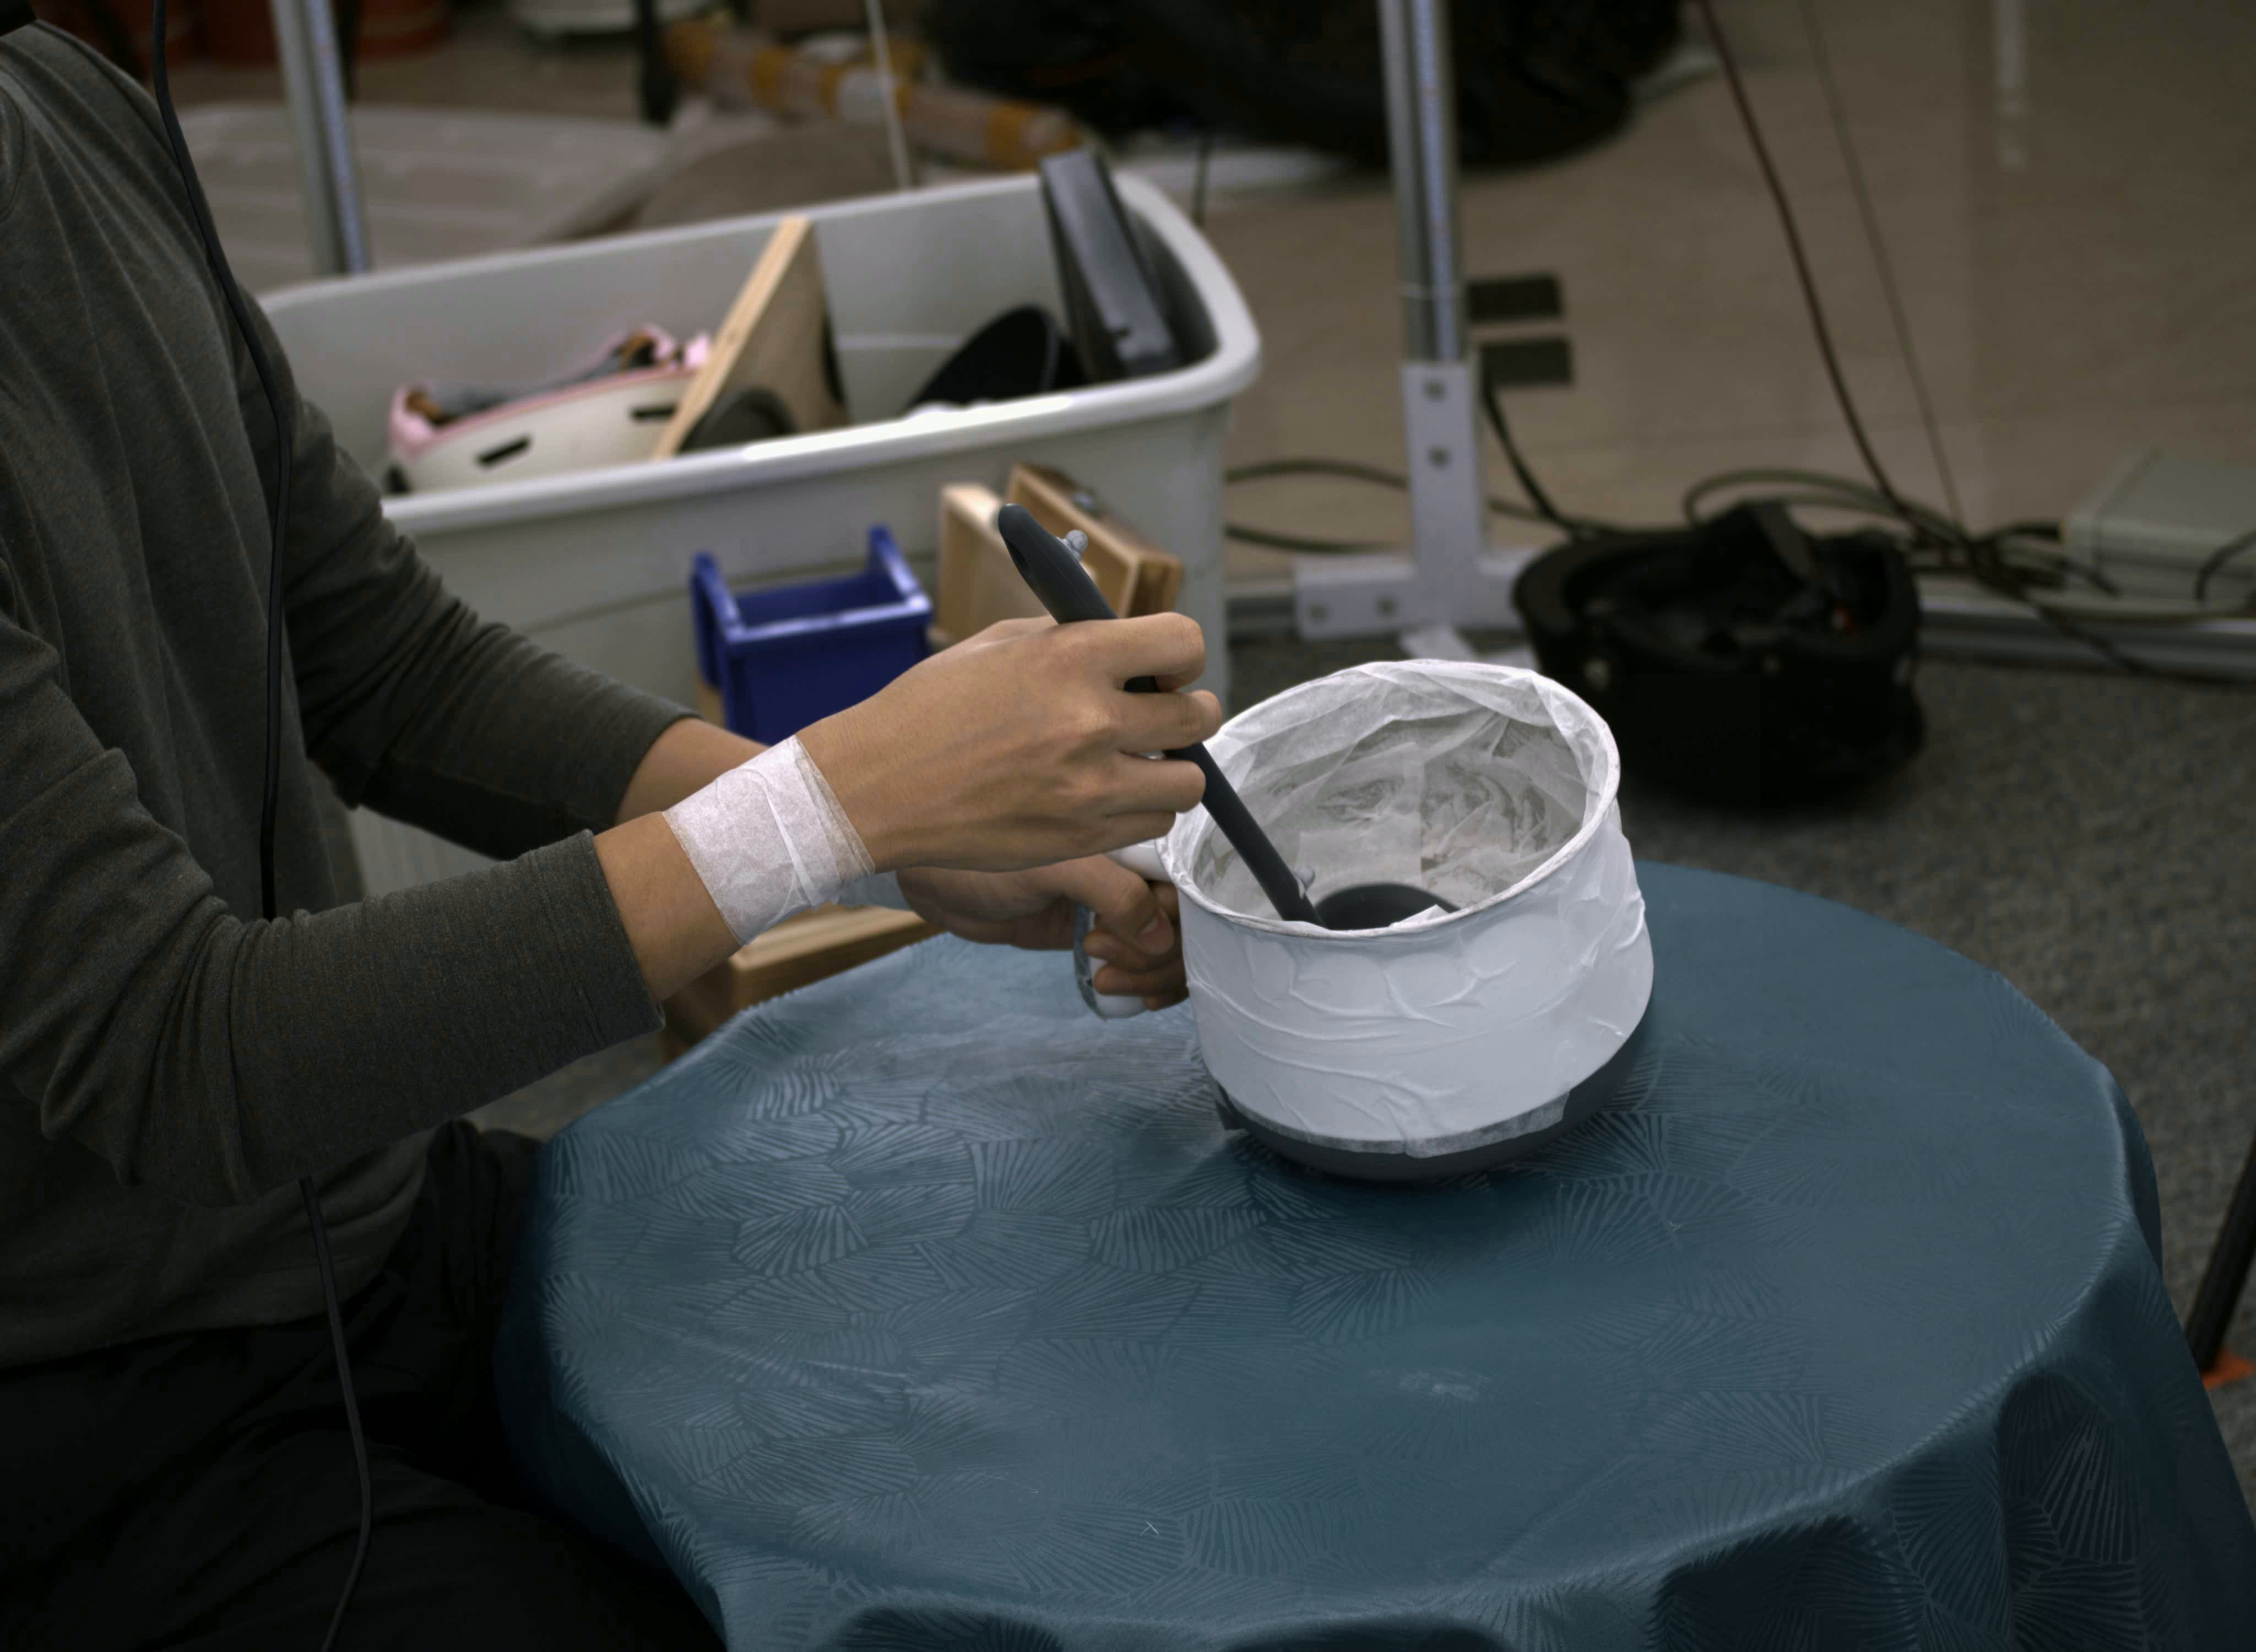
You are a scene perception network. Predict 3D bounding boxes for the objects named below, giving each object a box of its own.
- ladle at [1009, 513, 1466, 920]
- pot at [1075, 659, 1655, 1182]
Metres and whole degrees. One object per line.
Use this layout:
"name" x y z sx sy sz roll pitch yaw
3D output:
"ladle" 0.047 -0.031 2.041 0.085 0.319 0.063 27 72 43
"pot" 0.083 0.037 2.165 0.233 0.139 0.176 5 38 24
